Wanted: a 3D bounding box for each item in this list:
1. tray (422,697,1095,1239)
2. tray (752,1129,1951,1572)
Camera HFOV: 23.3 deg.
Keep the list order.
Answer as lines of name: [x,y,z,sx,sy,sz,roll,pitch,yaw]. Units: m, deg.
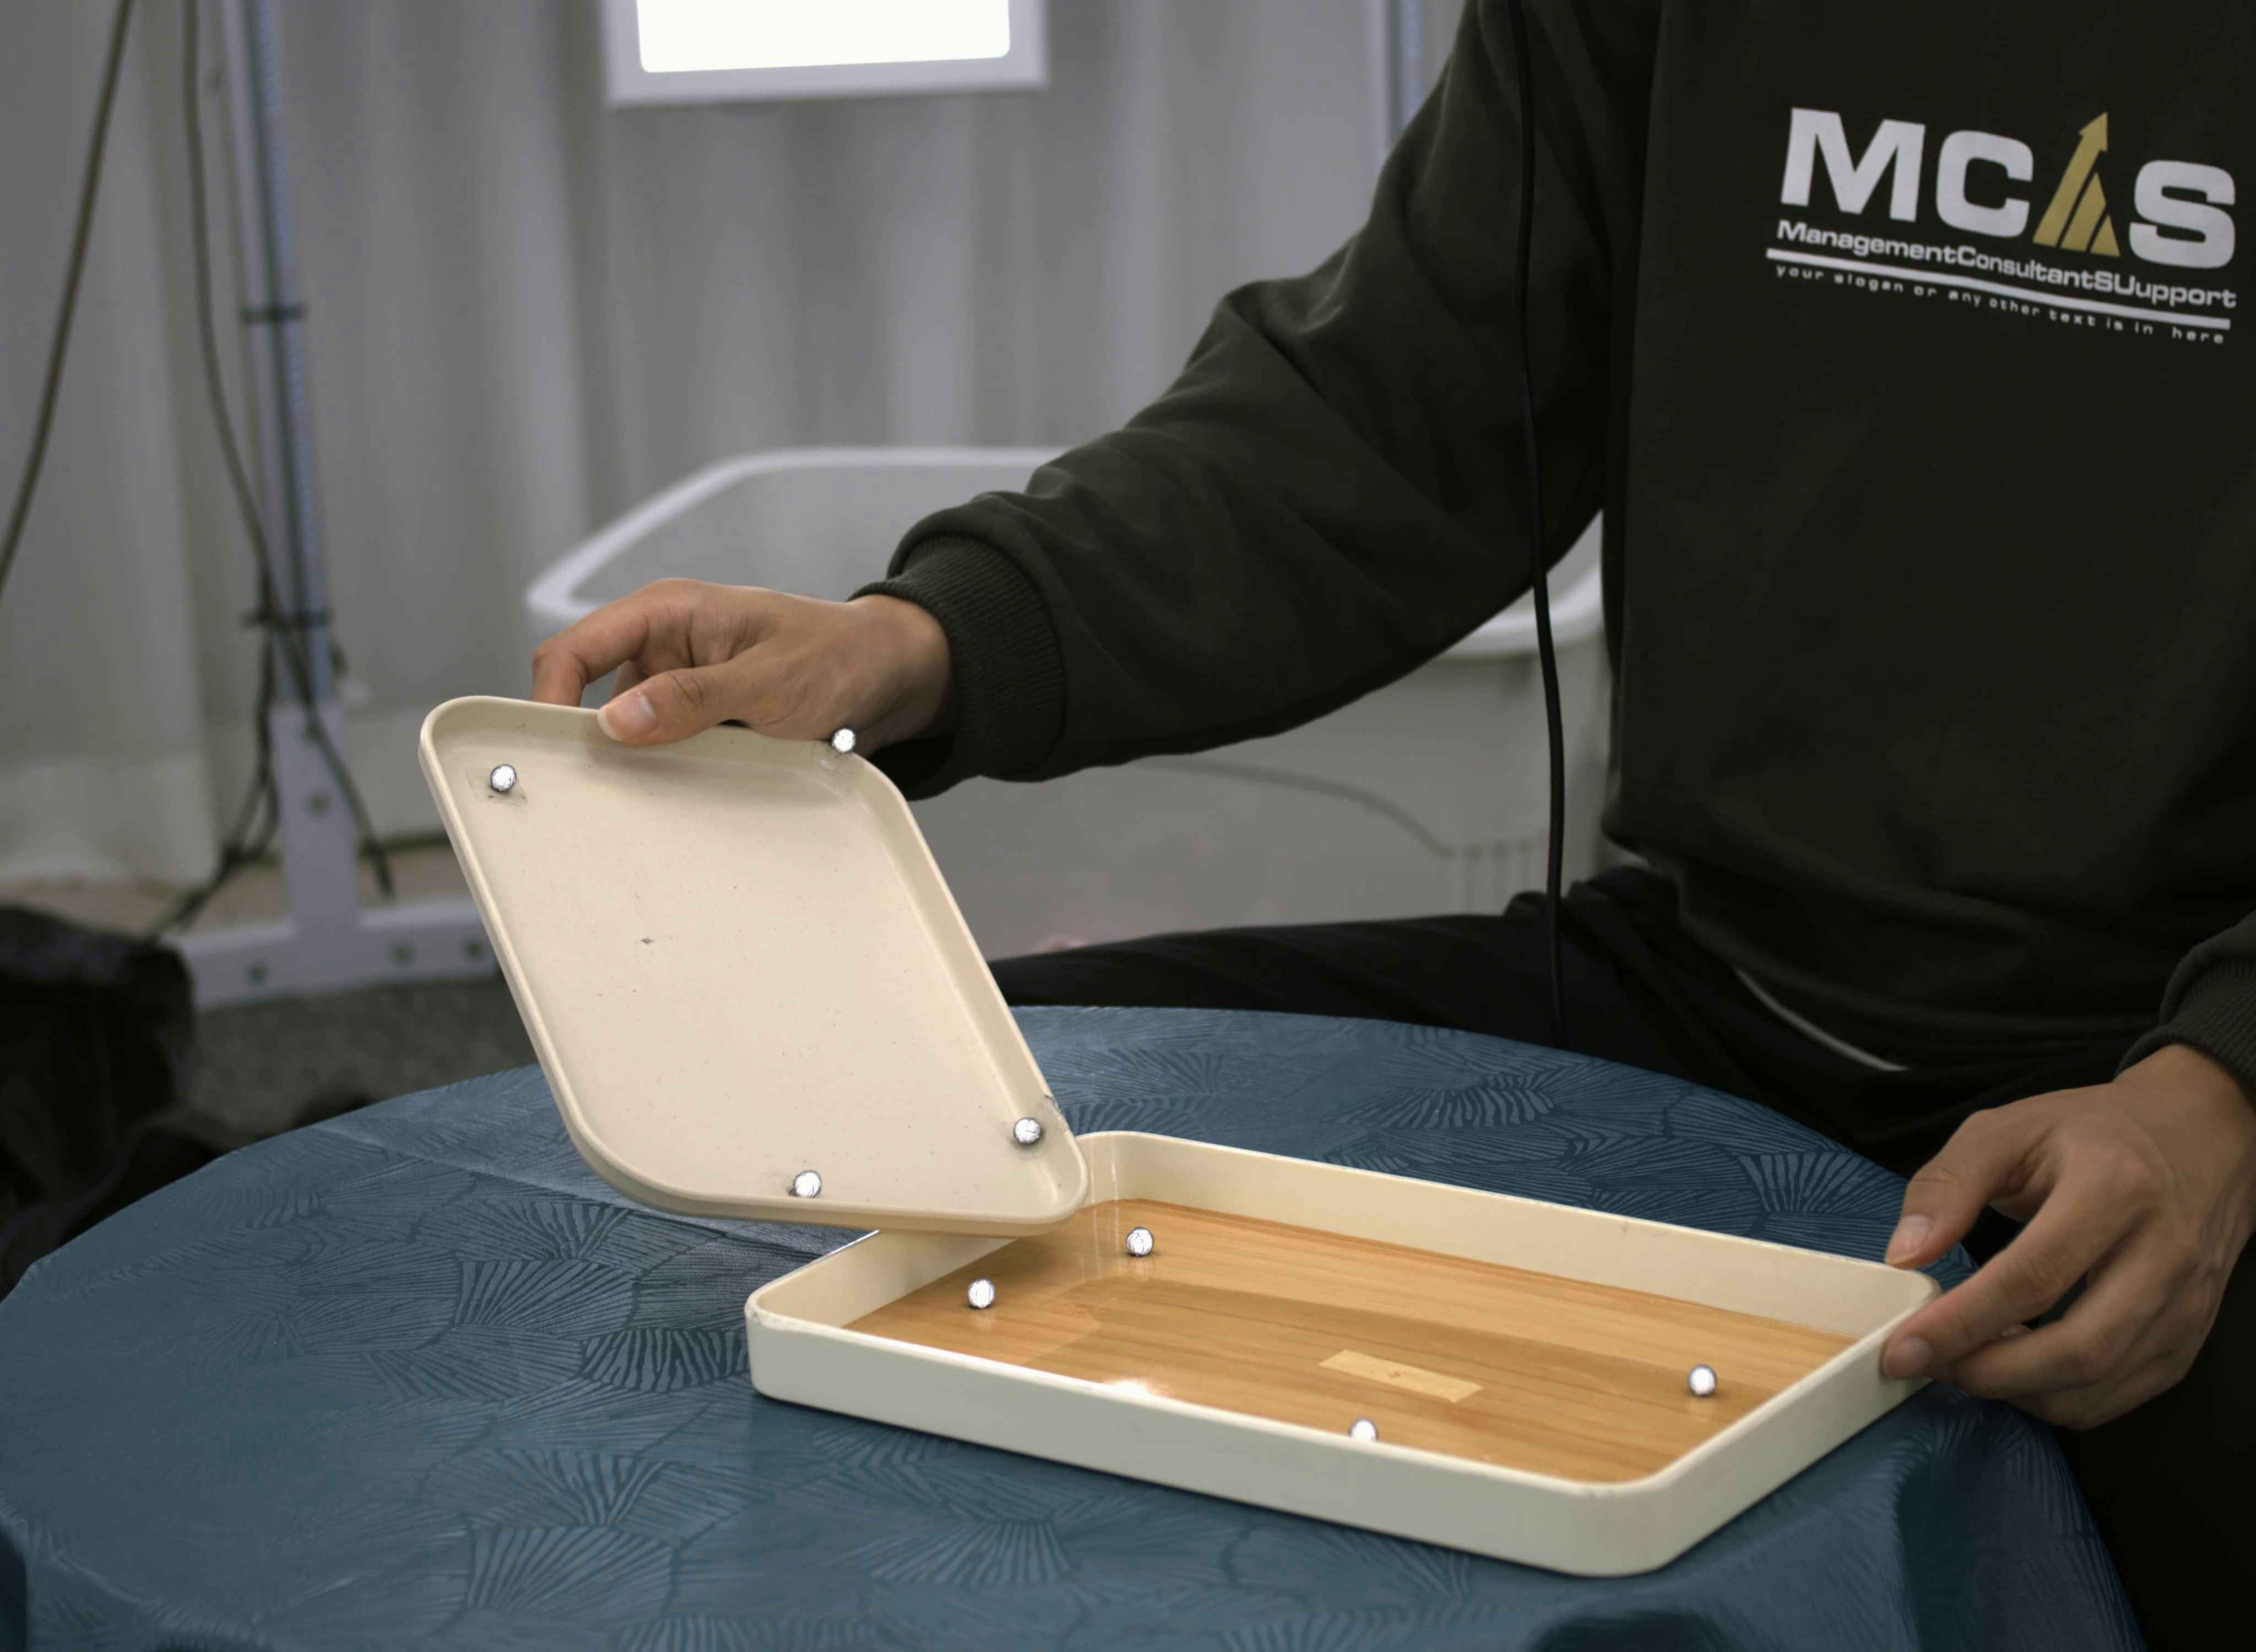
tray: [-0.117,0.044,1.681,0.170,0.017,0.243,7,35,-29]
tray: [0.062,0.144,1.547,0.301,0.027,0.191,8,18,34]
